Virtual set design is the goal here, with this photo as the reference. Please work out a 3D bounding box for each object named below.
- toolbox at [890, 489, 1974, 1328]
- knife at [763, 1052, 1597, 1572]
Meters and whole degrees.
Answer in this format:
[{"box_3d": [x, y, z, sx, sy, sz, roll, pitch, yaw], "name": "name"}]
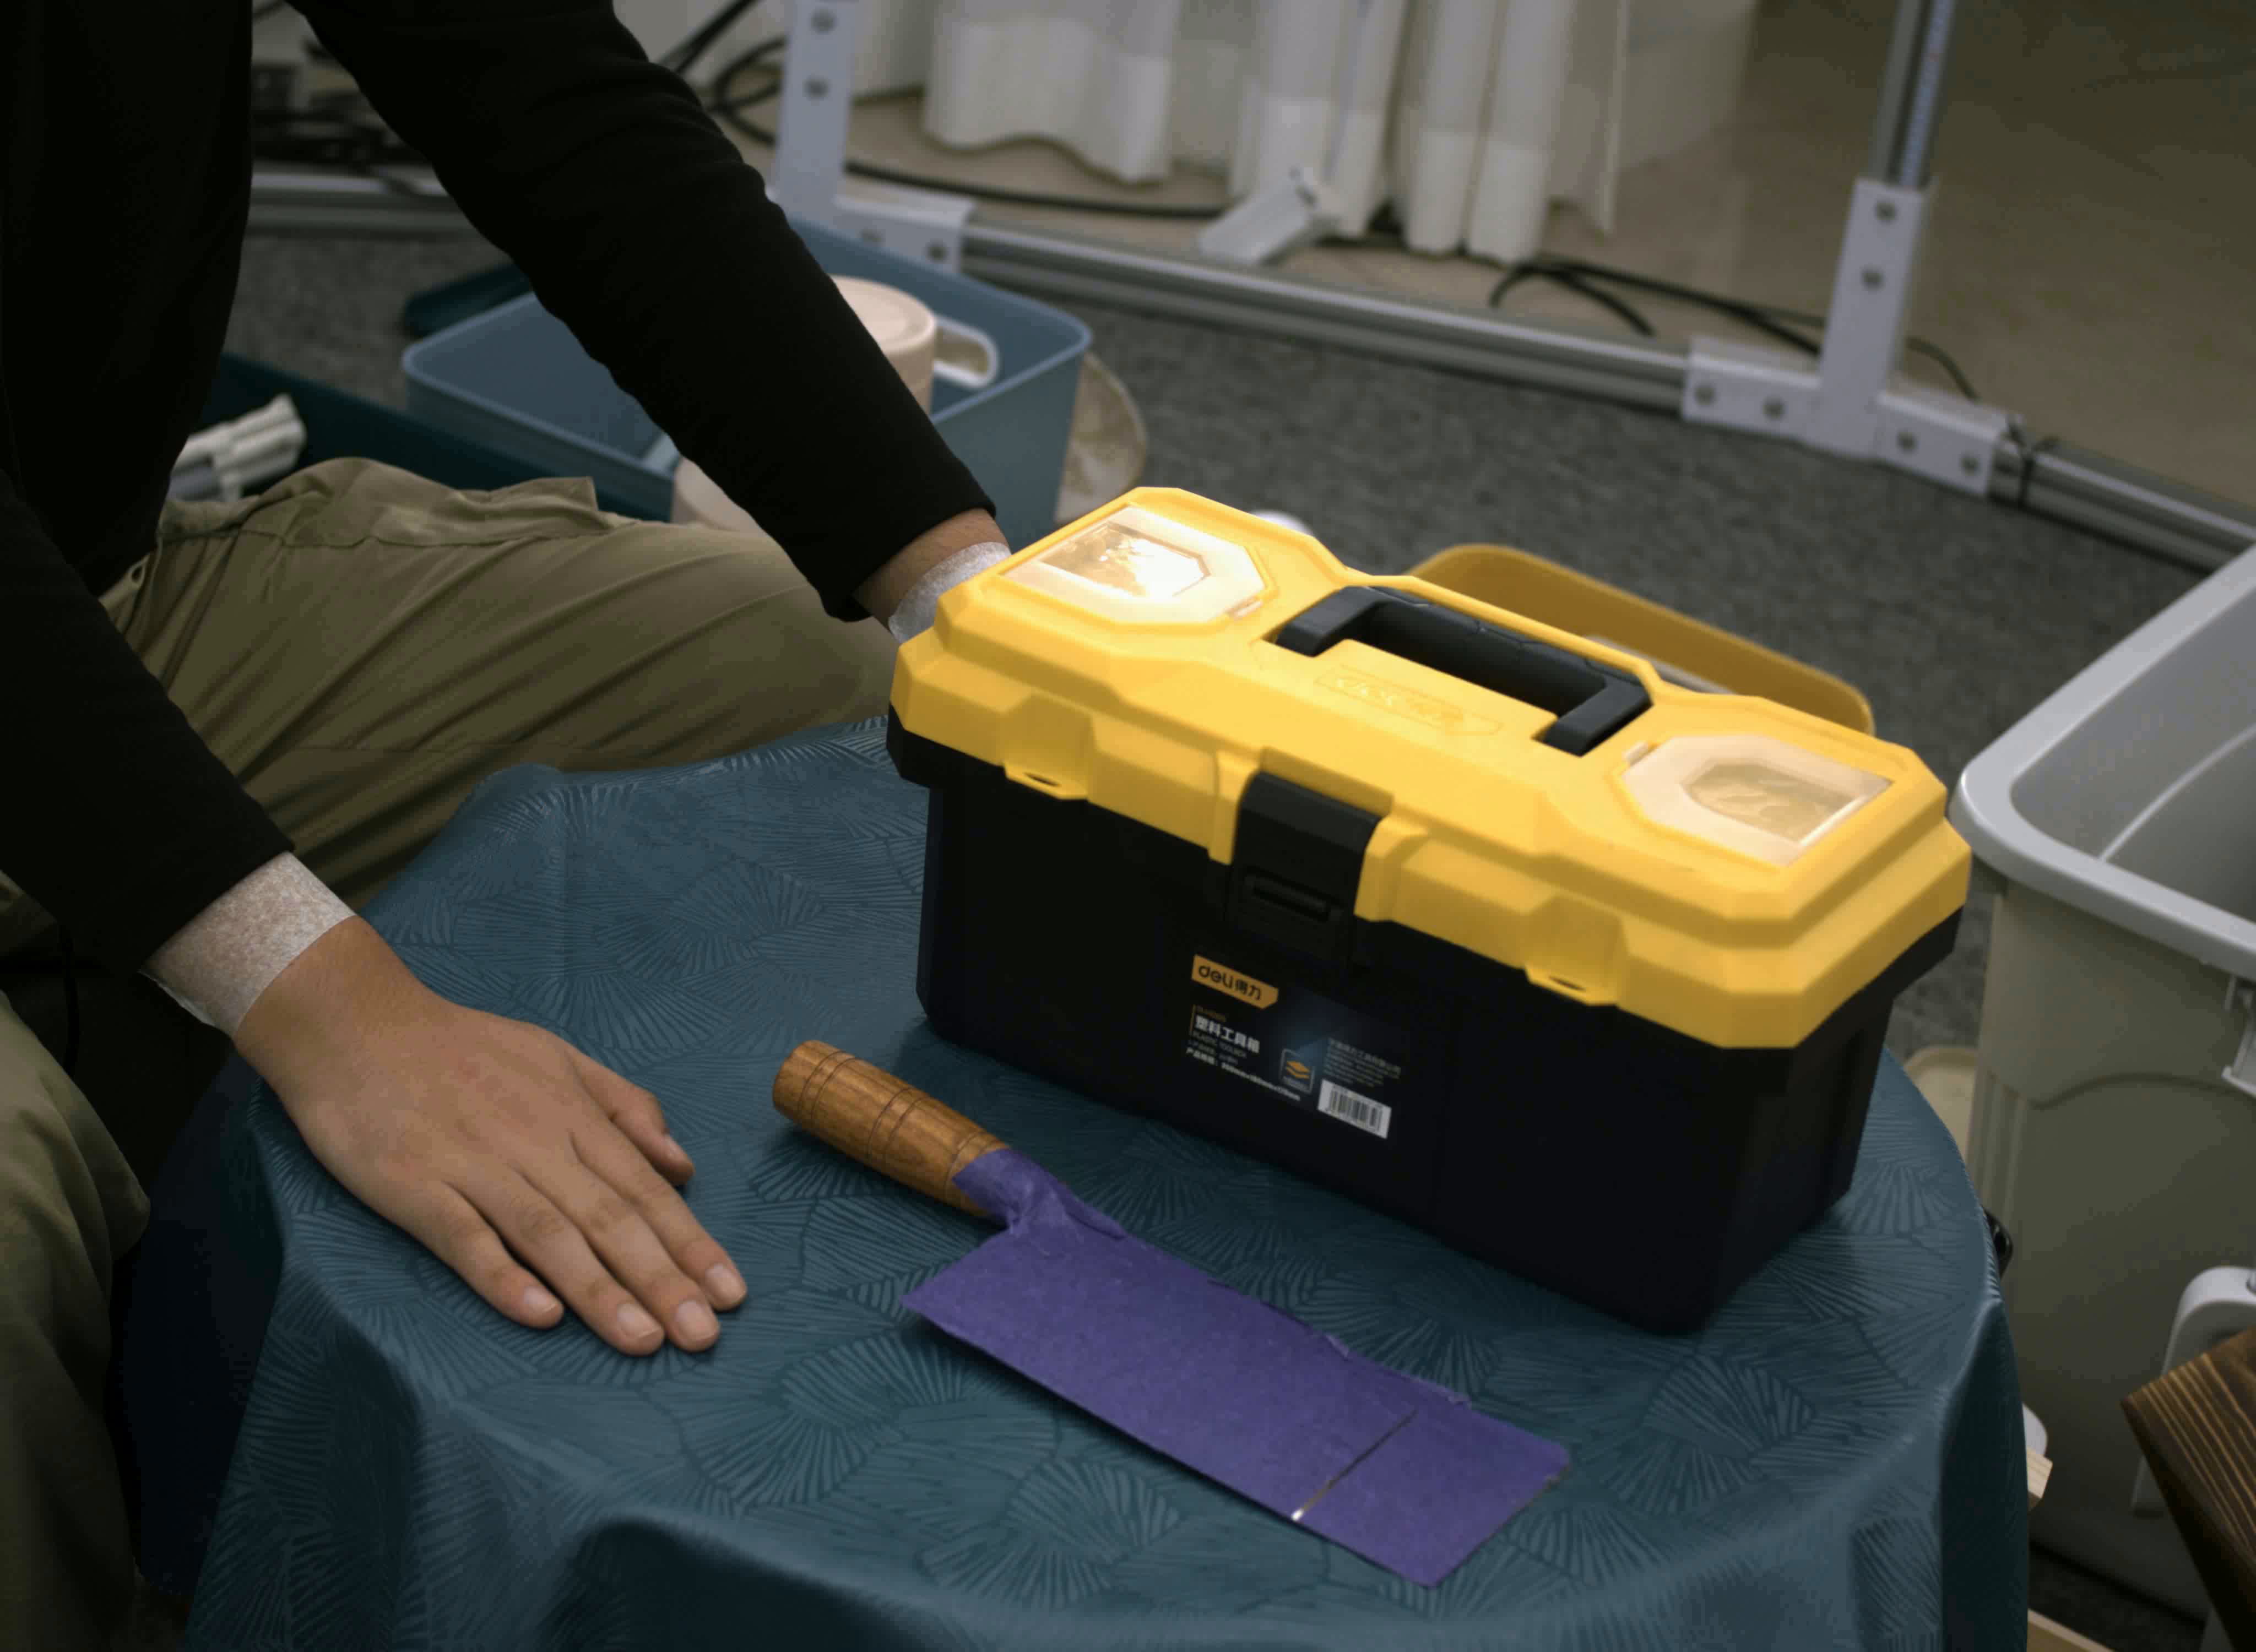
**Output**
[{"box_3d": [0.095, 0.025, 1.827, 0.353, 0.172, 0.181, 21, 29, 27], "name": "toolbox"}, {"box_3d": [-0.005, 0.153, 1.713, 0.317, 0.032, 0.103, 23, 31, 28], "name": "knife"}]
